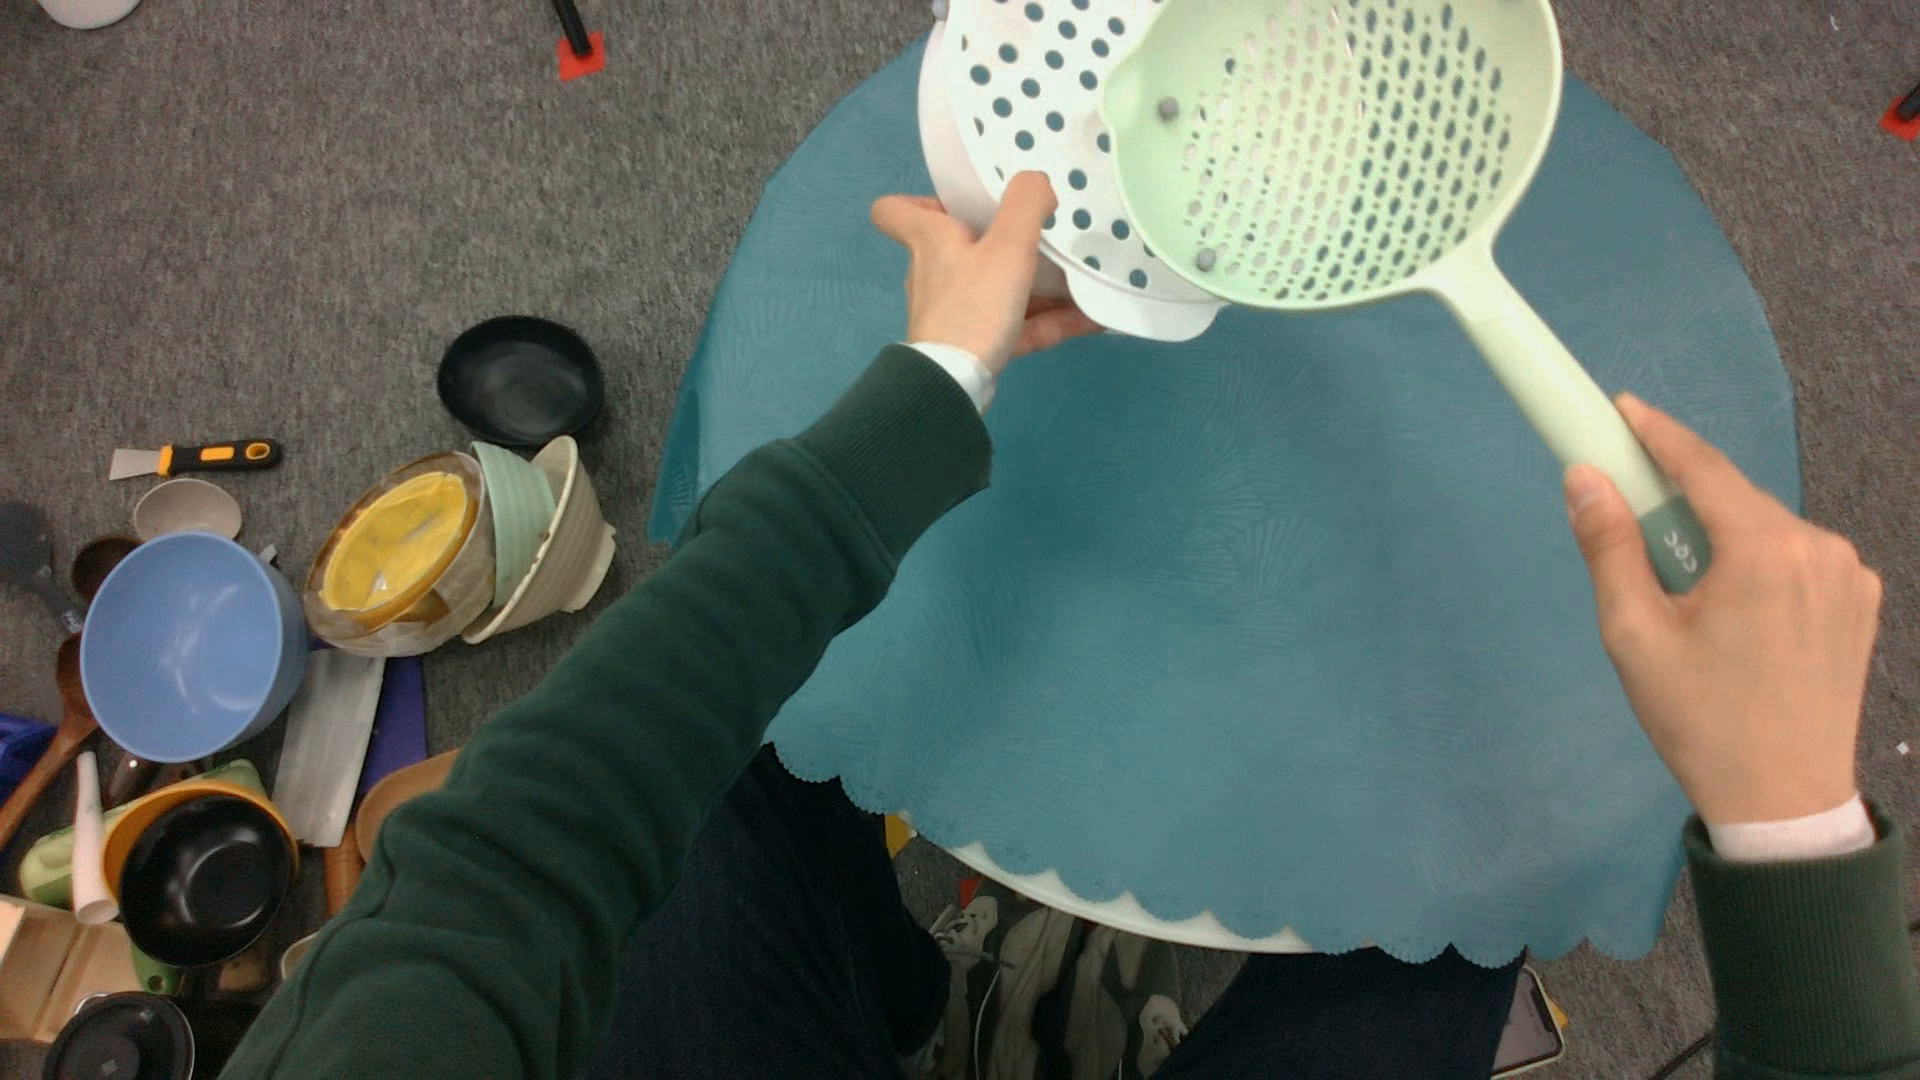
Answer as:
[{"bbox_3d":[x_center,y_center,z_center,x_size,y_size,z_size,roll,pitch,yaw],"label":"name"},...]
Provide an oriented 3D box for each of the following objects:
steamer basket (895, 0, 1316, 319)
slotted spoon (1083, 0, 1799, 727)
[{"bbox_3d":[0.069,-0.205,0.632,0.202,0.069,0.231,8,79,-18],"label":"steamer basket"},{"bbox_3d":[0.180,-0.092,0.503,0.169,0.075,0.360,-35,57,14],"label":"slotted spoon"}]
